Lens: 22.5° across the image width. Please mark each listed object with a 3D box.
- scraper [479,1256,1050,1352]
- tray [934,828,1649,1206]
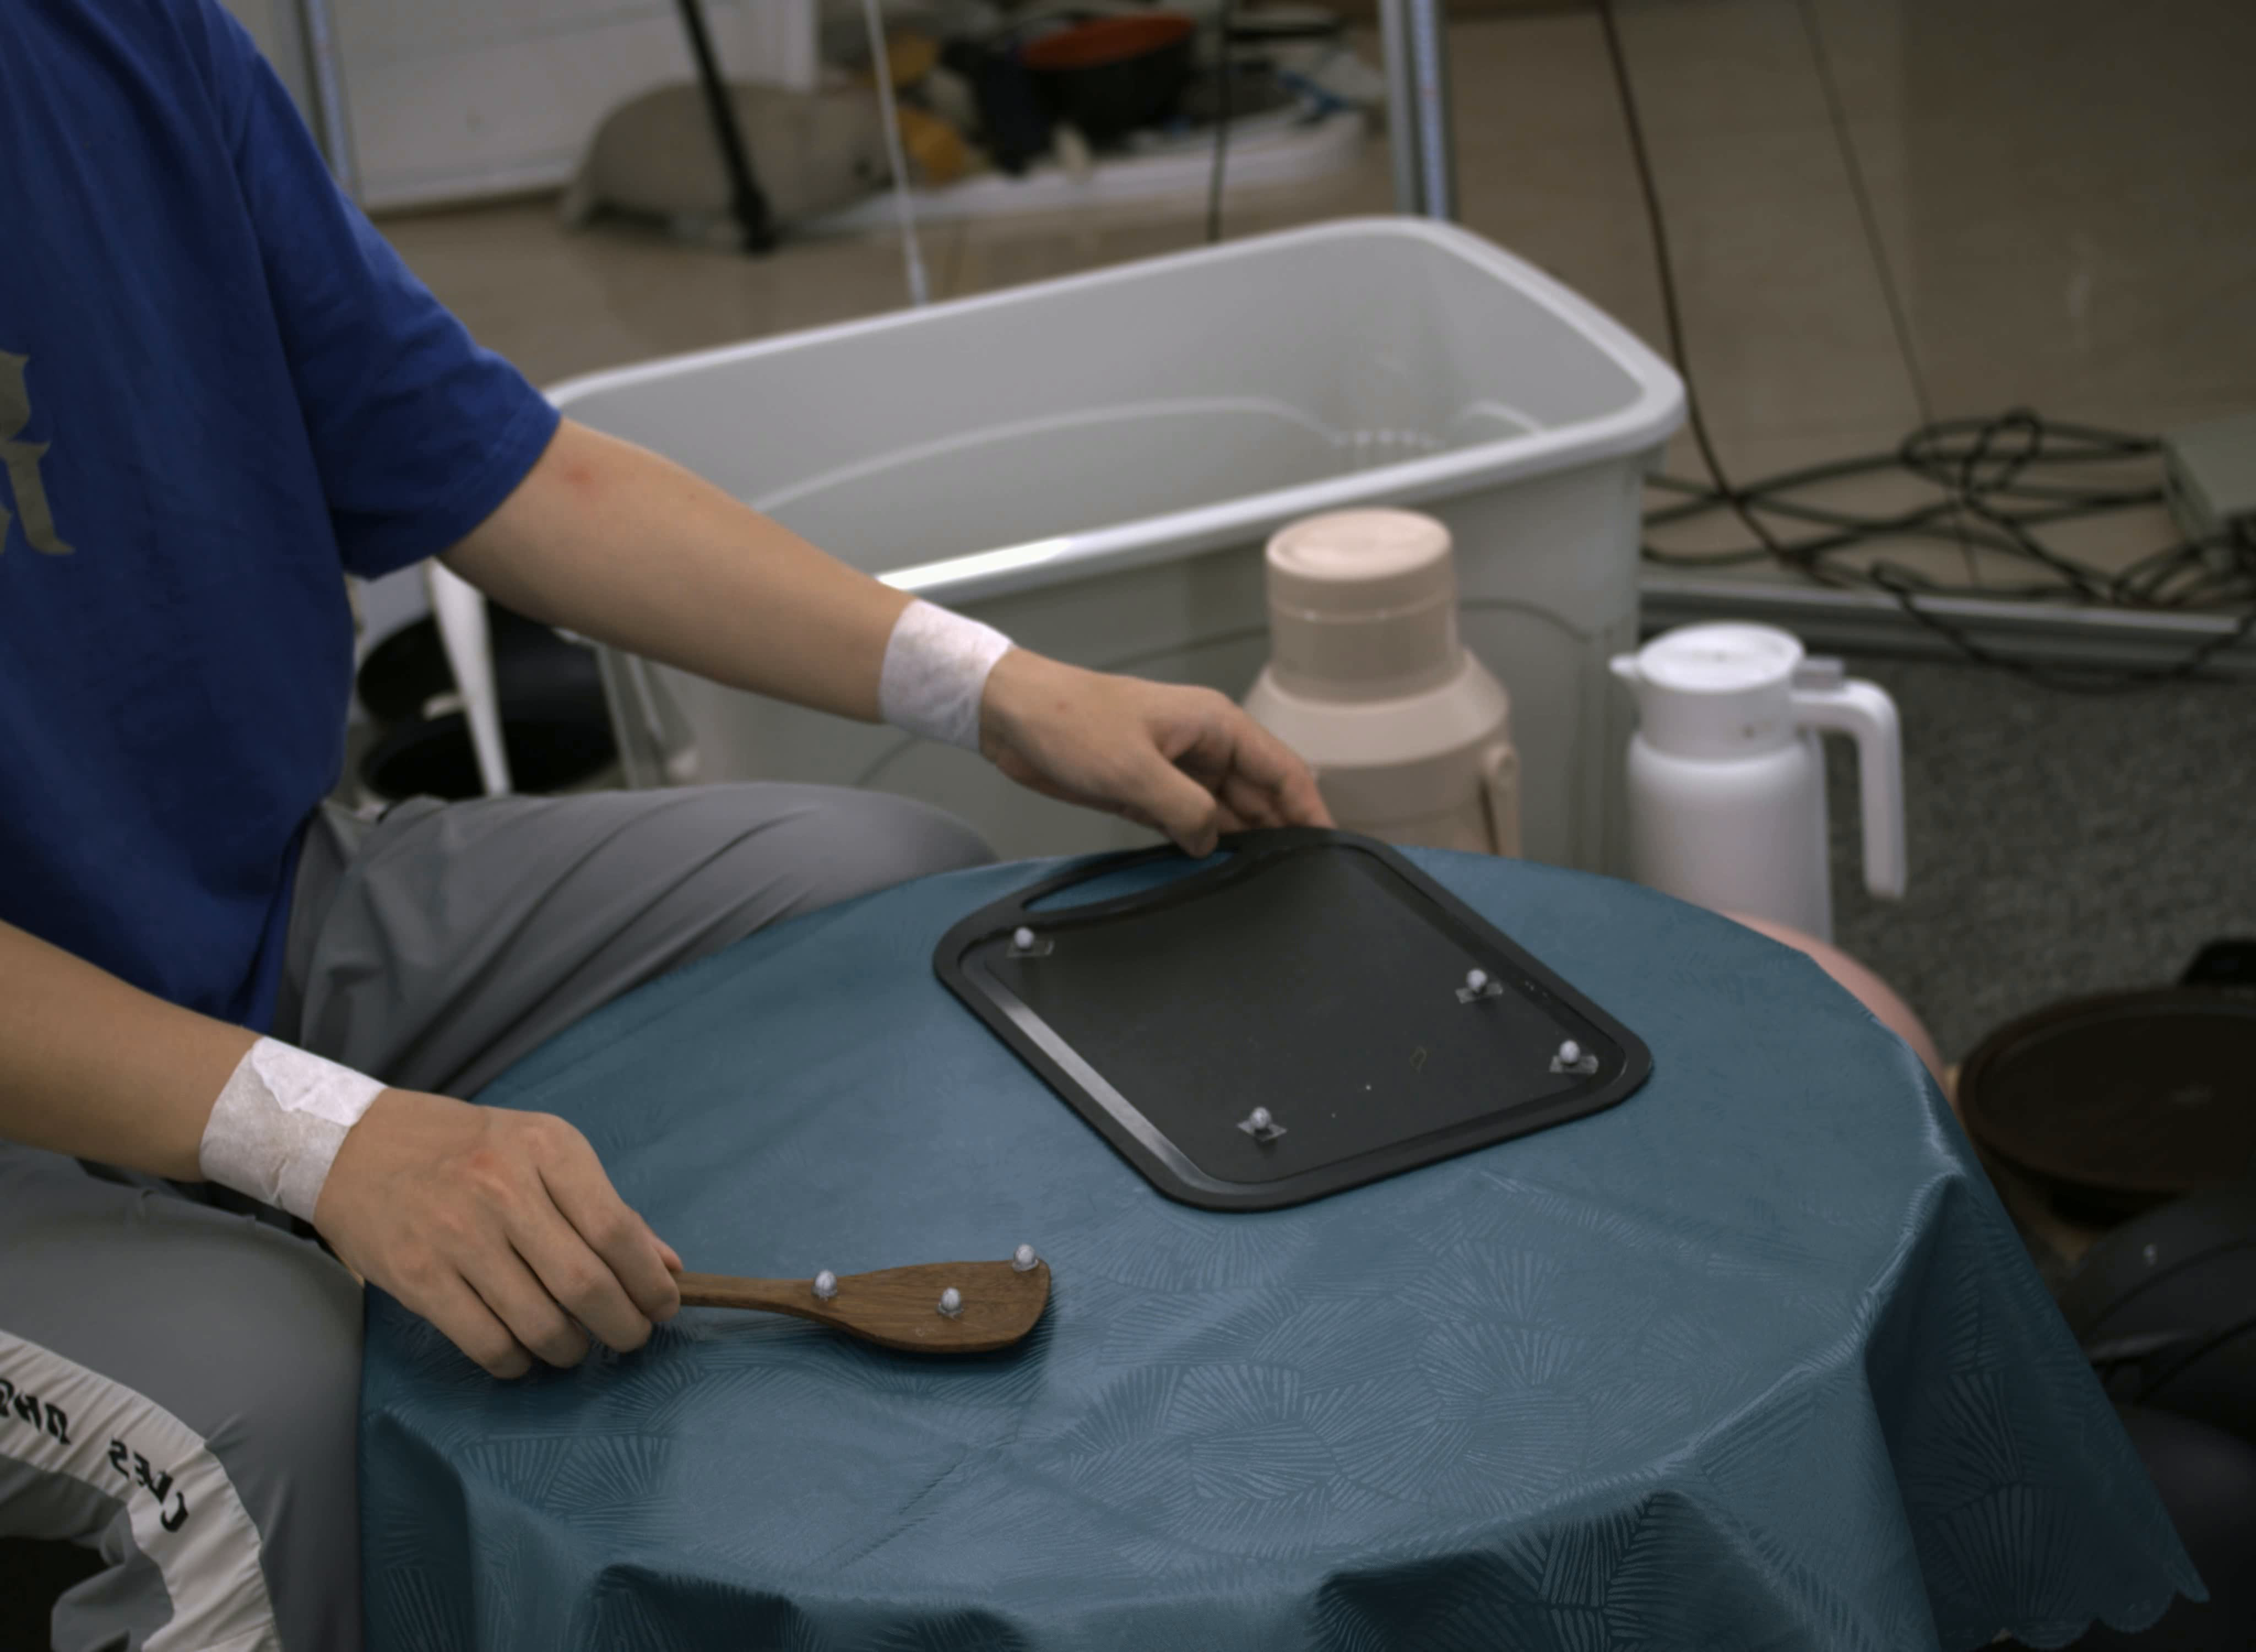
[{"bbox_3d":[-0.134,0.172,2.079,0.211,0.011,0.075,2,20,7],"label":"scraper"},{"bbox_3d":[0.056,0.069,2.277,0.210,0.010,0.321,-16,26,-19],"label":"tray"}]
